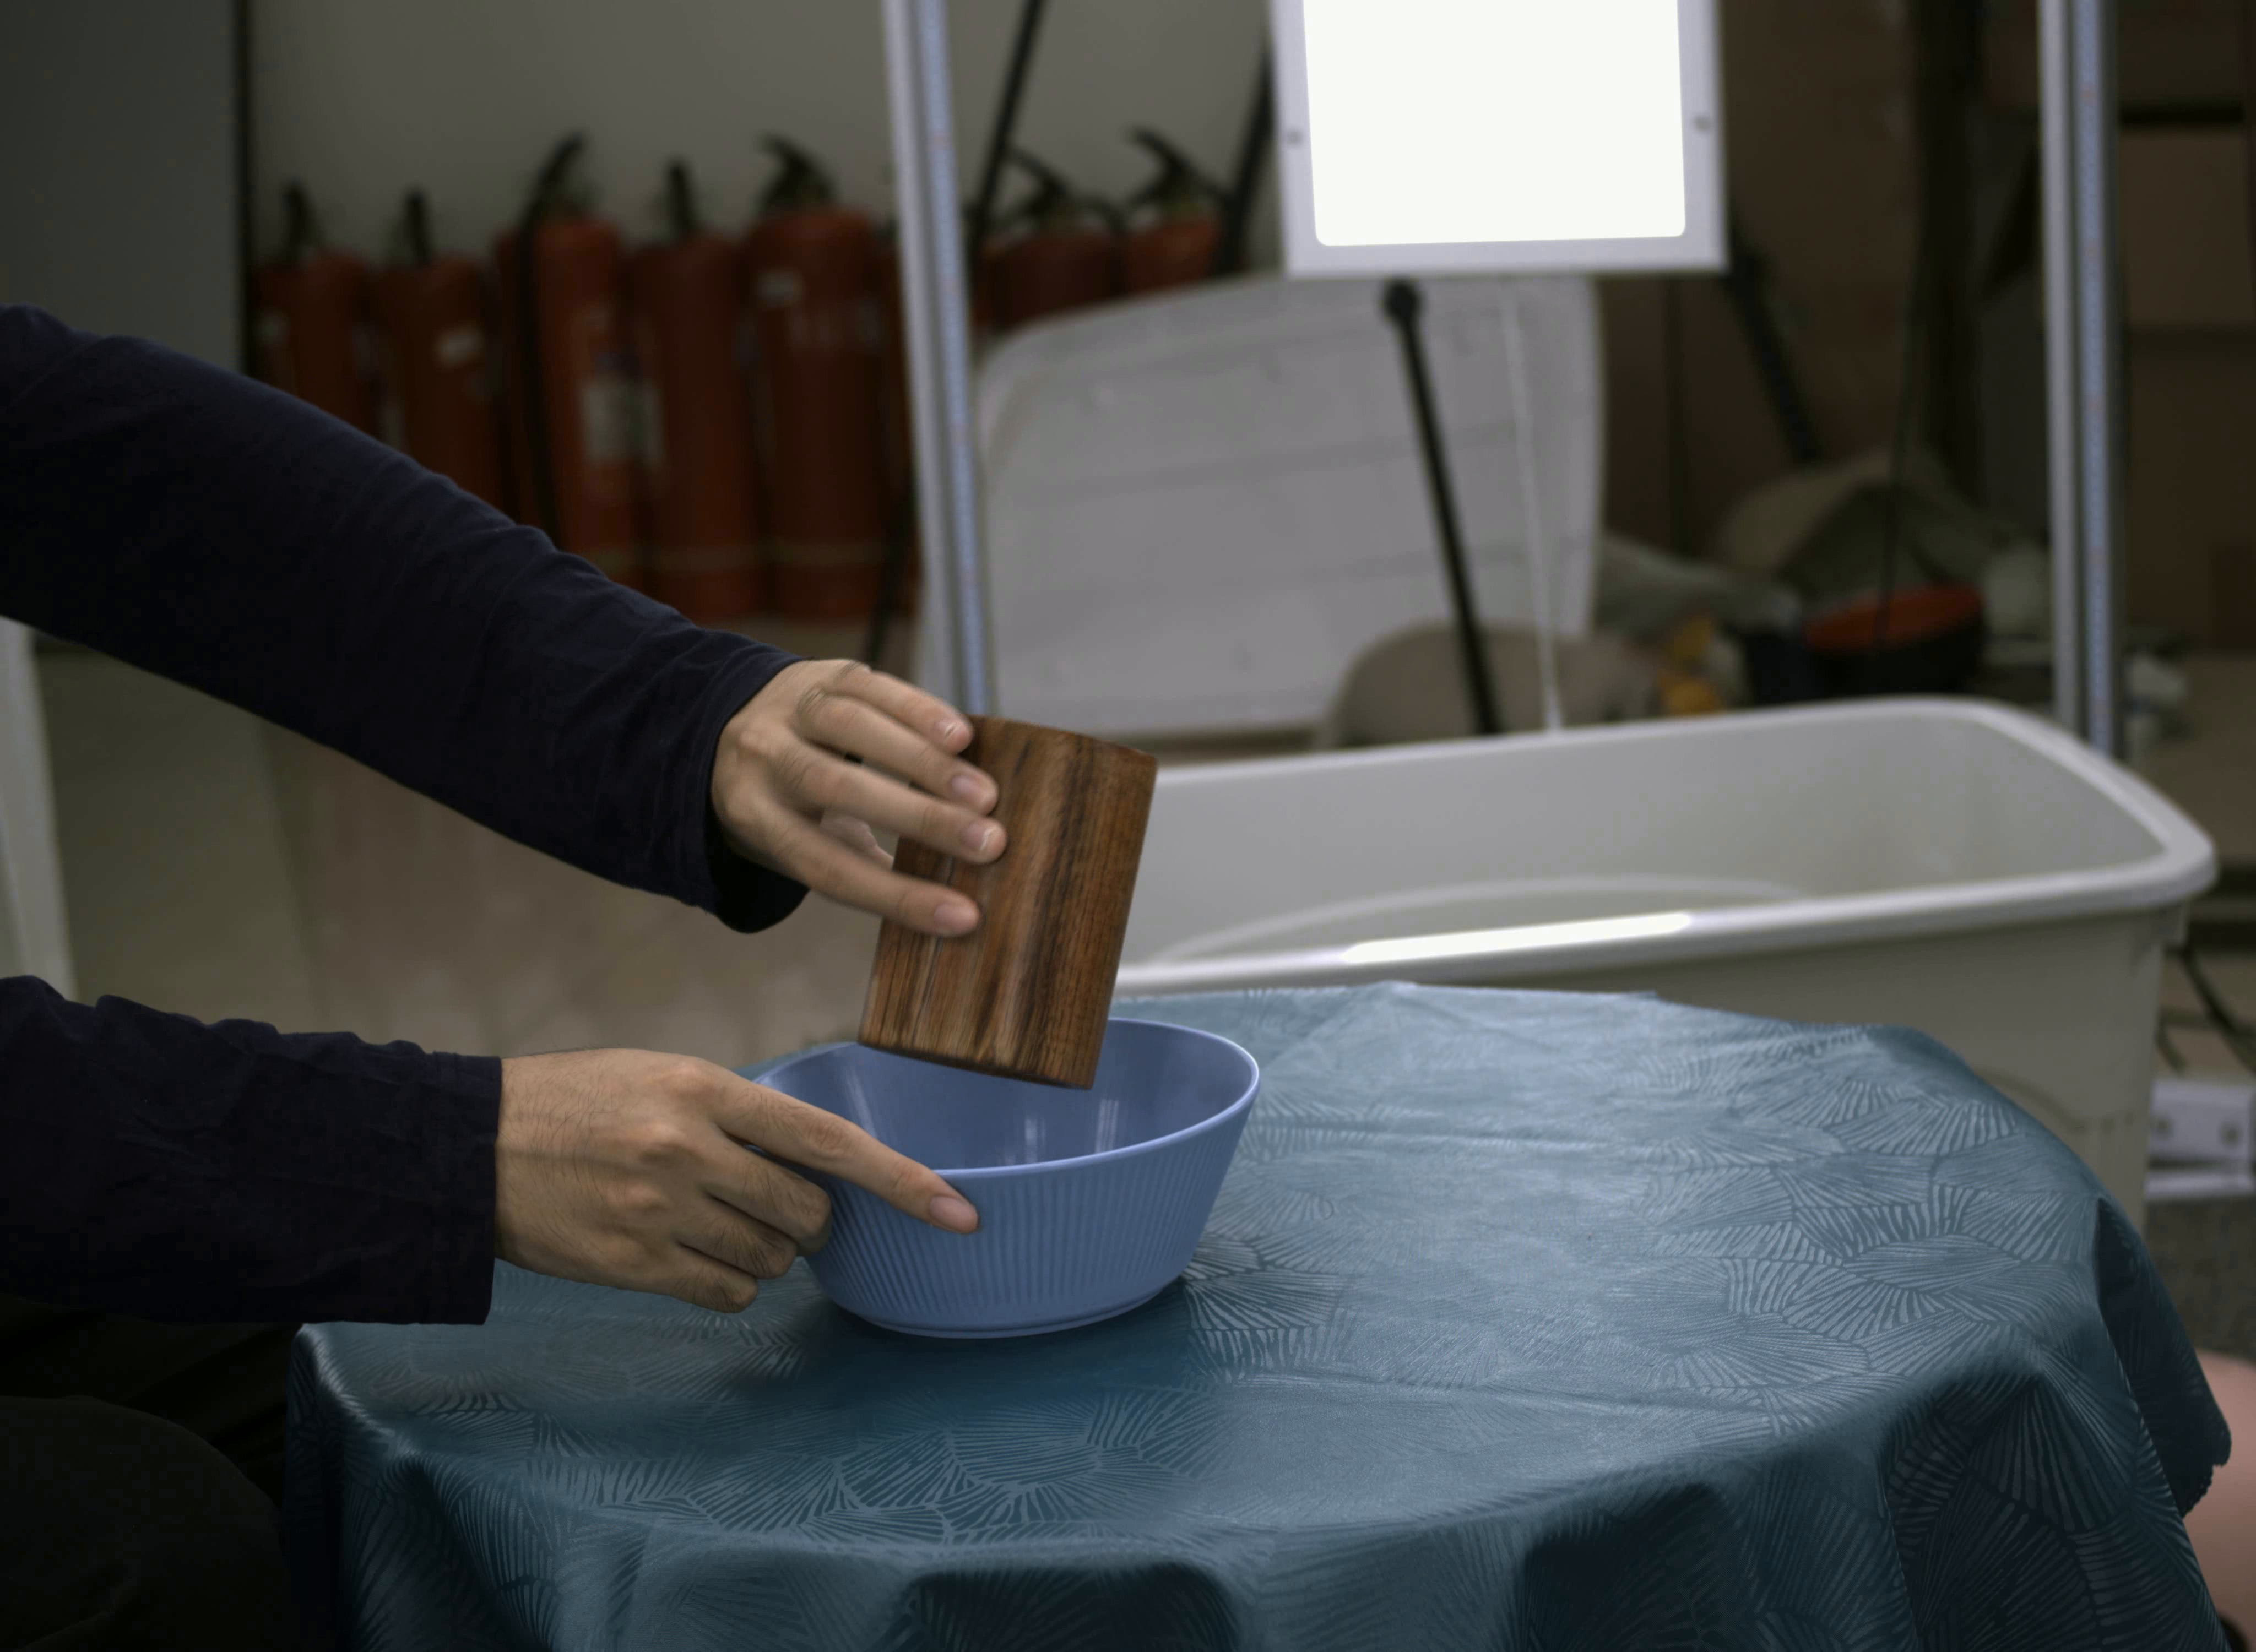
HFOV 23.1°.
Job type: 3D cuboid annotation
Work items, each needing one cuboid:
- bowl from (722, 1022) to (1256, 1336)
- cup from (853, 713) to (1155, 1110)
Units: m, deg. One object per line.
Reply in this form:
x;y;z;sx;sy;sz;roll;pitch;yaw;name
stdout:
-0.043;0.118;1.802;0.175;0.070;0.176;-6;13;0;bowl
-0.039;0.028;1.799;0.087;0.118;0.088;11;-2;-1;cup
